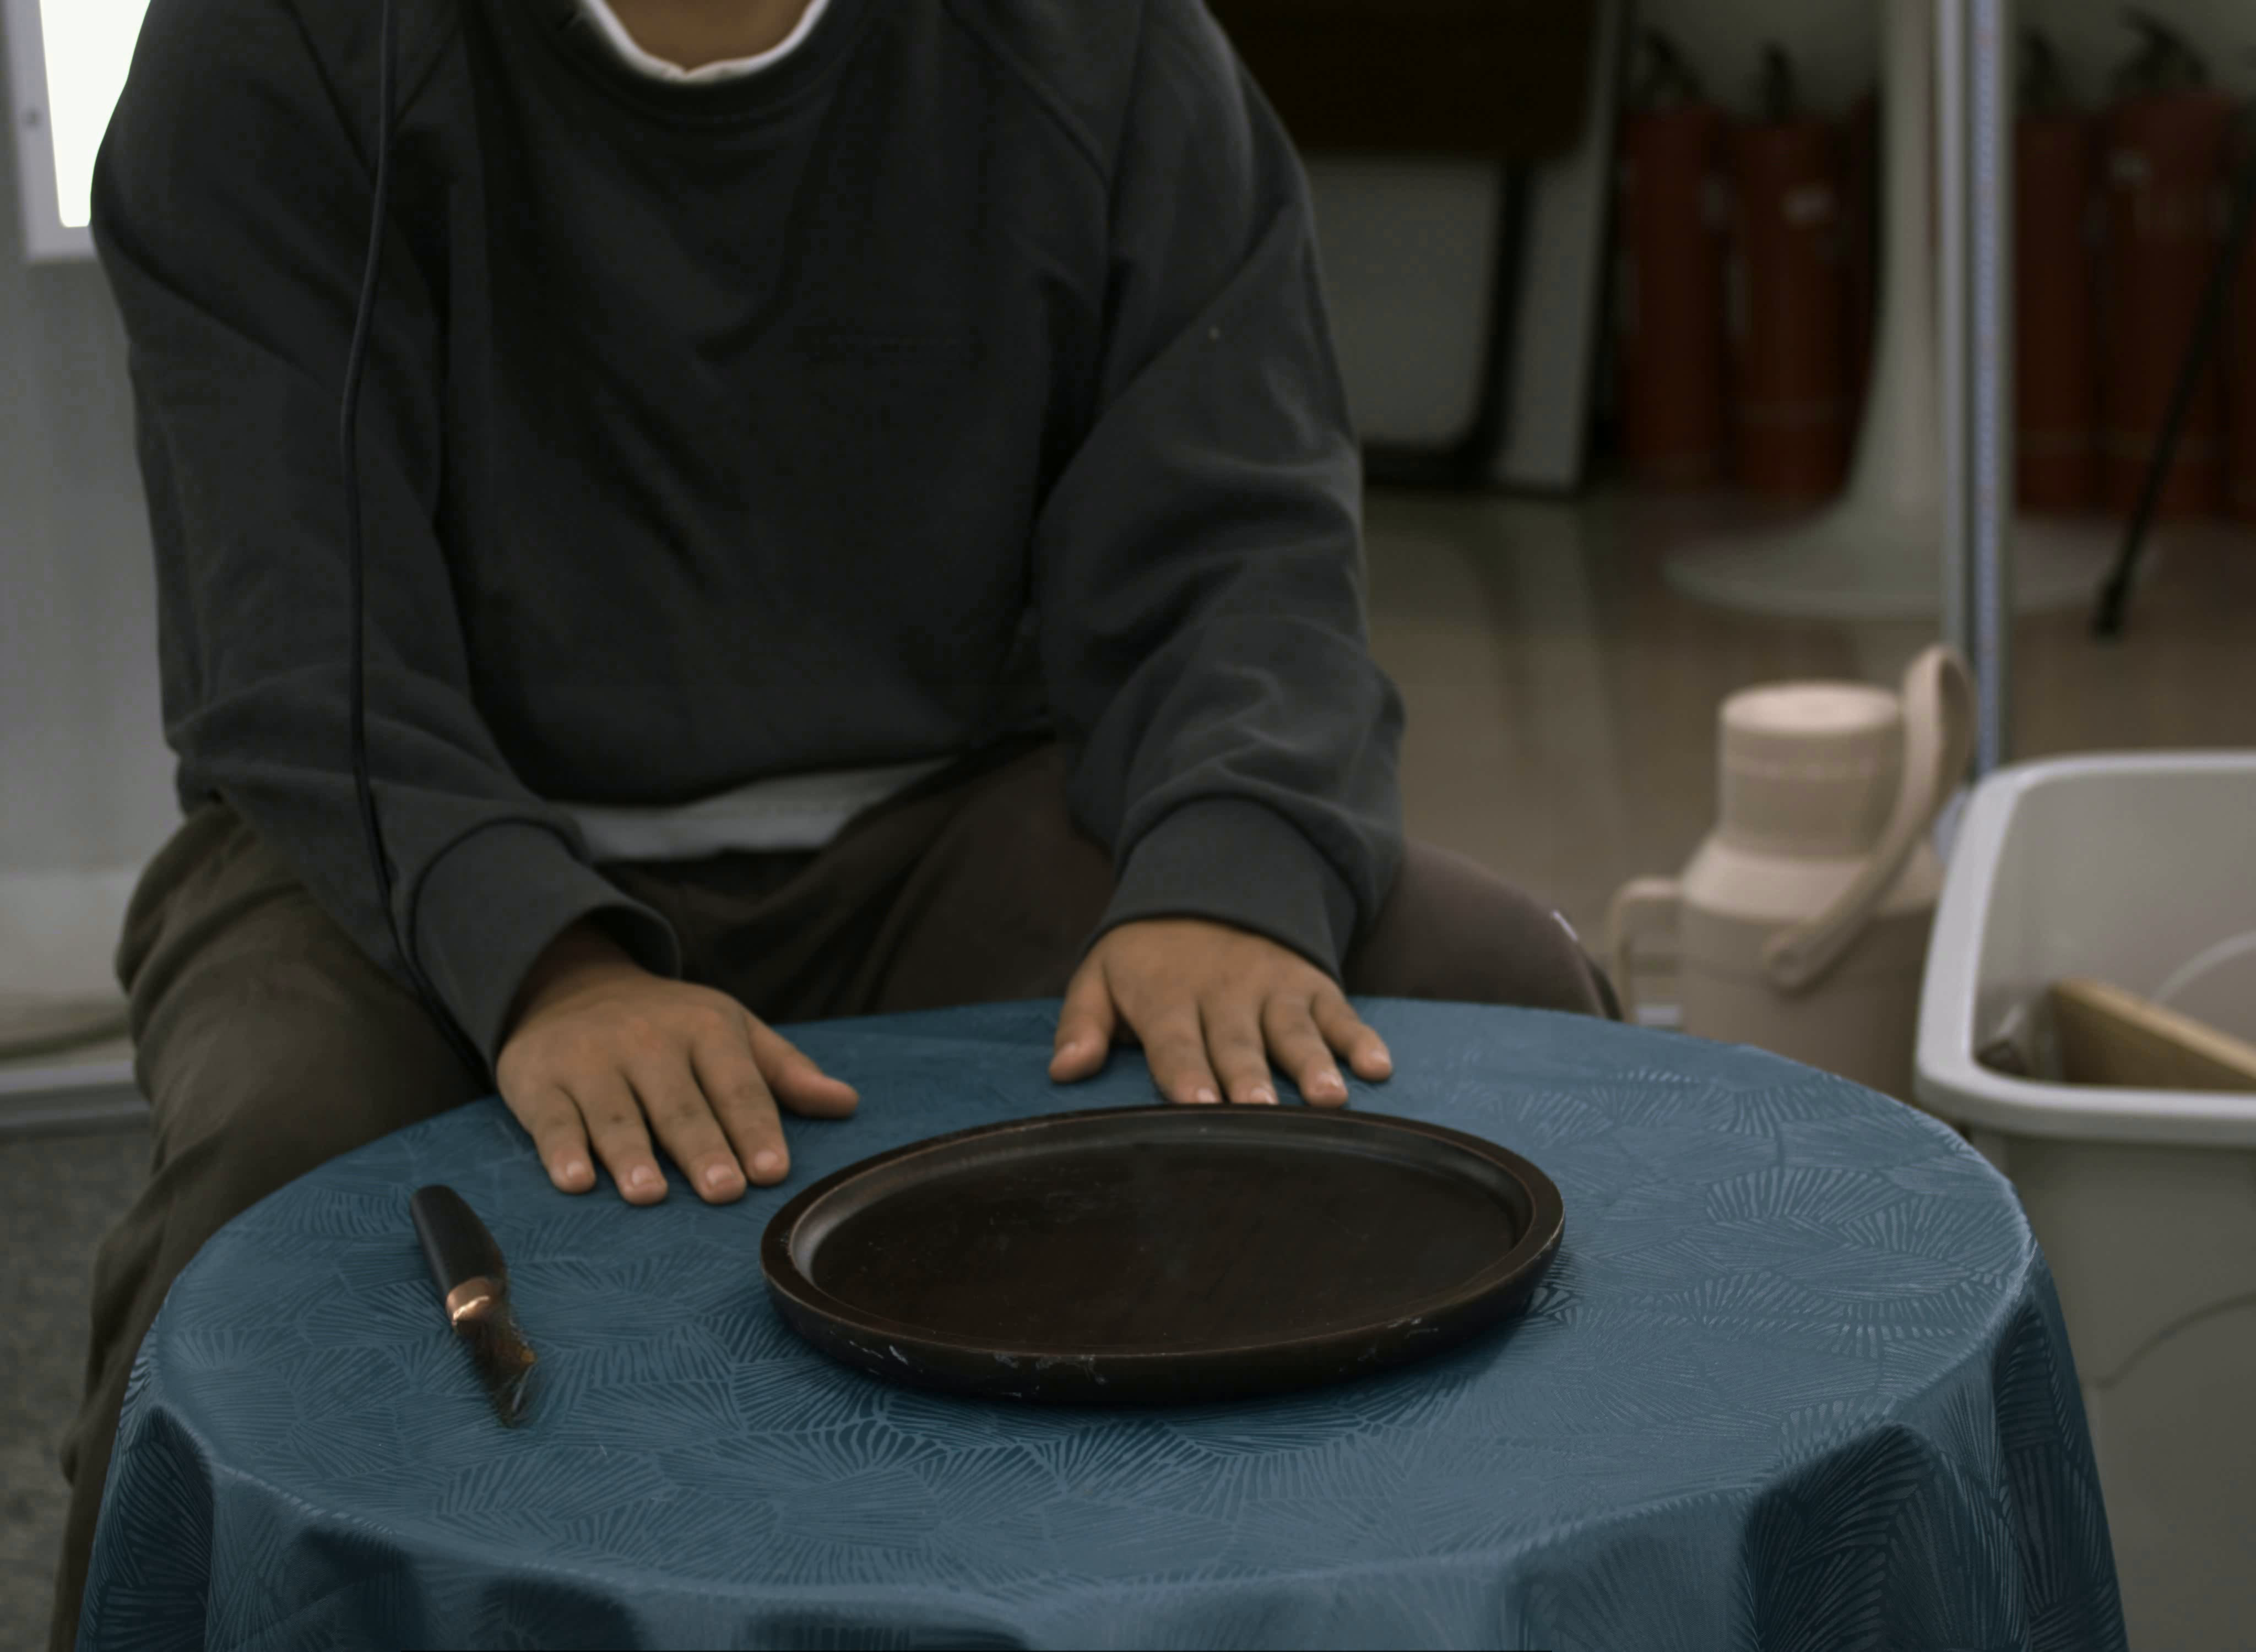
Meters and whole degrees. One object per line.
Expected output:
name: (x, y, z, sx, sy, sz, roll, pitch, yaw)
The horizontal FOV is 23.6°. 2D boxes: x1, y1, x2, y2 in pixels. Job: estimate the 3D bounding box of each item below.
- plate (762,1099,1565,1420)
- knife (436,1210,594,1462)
plate: (0.012, 0.133, 1.678, 0.251, 0.029, 0.255, -6, 13, 0)
knife: (-0.190, 0.156, 1.665, 0.026, 0.017, 0.227, -2, 14, -14)
